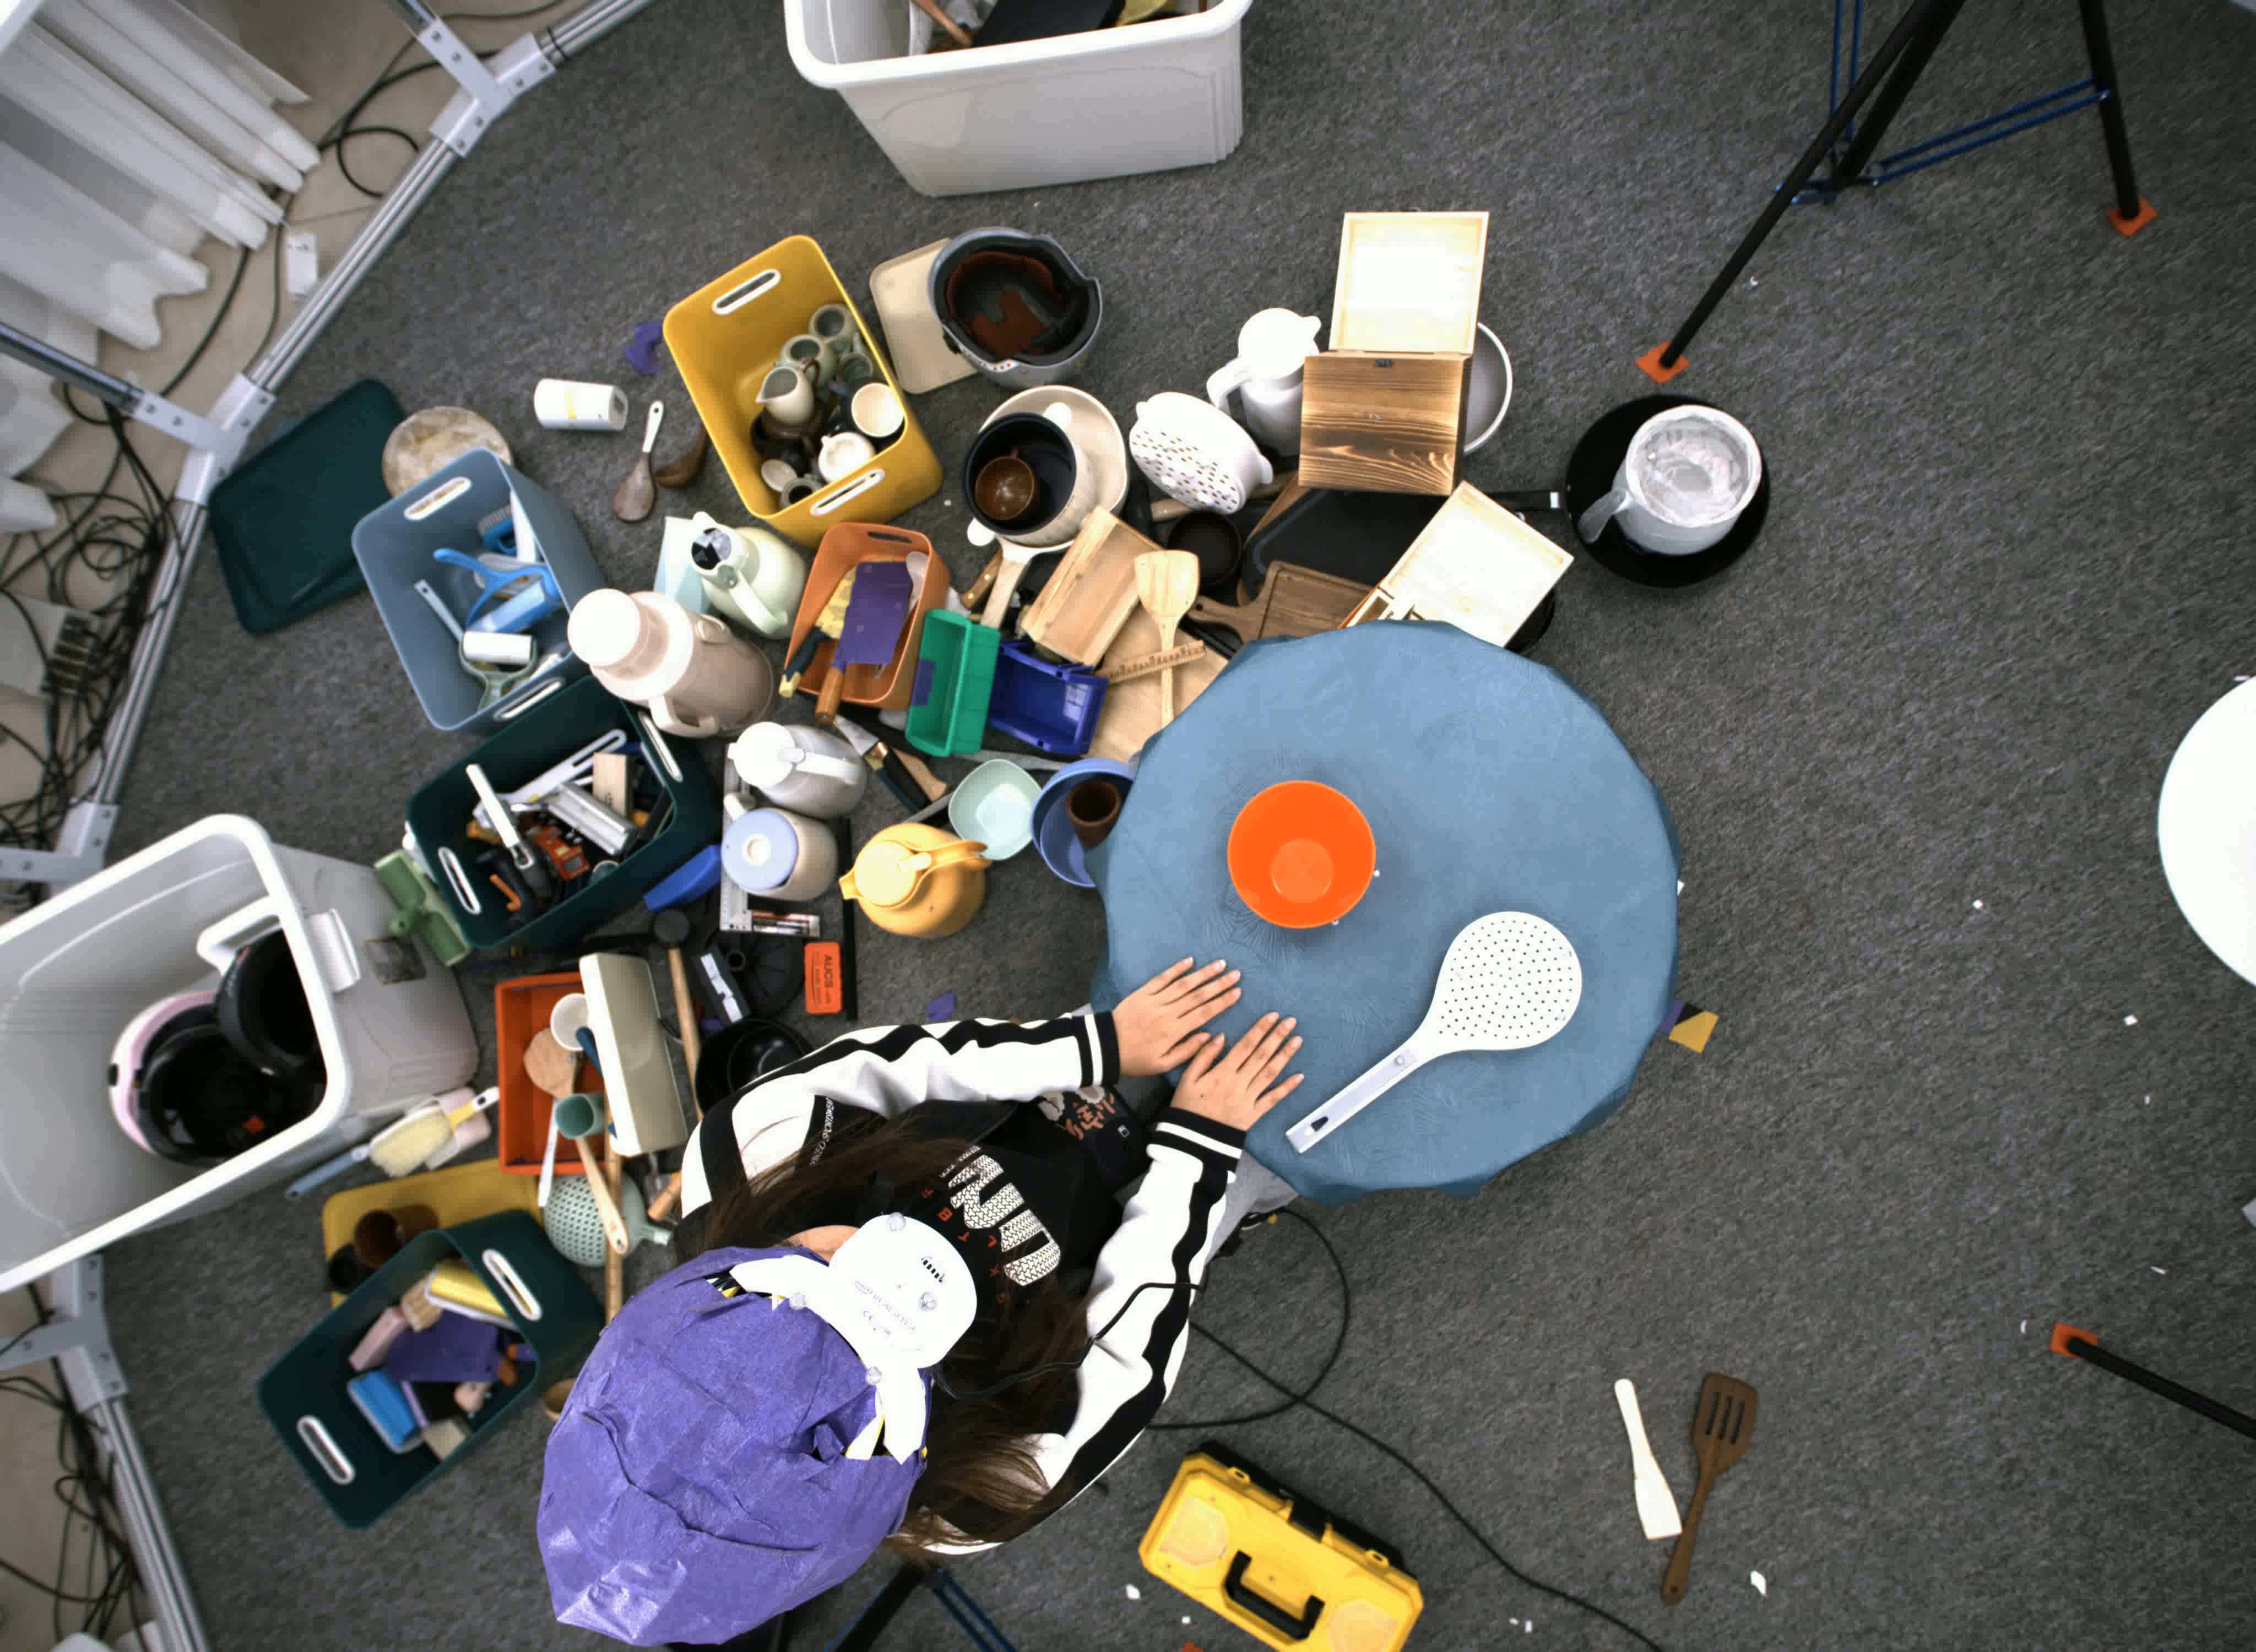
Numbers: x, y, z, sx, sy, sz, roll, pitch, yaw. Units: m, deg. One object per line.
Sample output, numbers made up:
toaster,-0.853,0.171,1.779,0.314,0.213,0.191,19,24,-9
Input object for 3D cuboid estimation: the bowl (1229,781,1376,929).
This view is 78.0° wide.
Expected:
bowl,0.180,0.032,1.429,0.148,0.104,0.147,-1,87,9

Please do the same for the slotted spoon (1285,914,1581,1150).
slotted spoon,0.307,0.222,1.422,0.352,0.046,0.135,-38,80,7
